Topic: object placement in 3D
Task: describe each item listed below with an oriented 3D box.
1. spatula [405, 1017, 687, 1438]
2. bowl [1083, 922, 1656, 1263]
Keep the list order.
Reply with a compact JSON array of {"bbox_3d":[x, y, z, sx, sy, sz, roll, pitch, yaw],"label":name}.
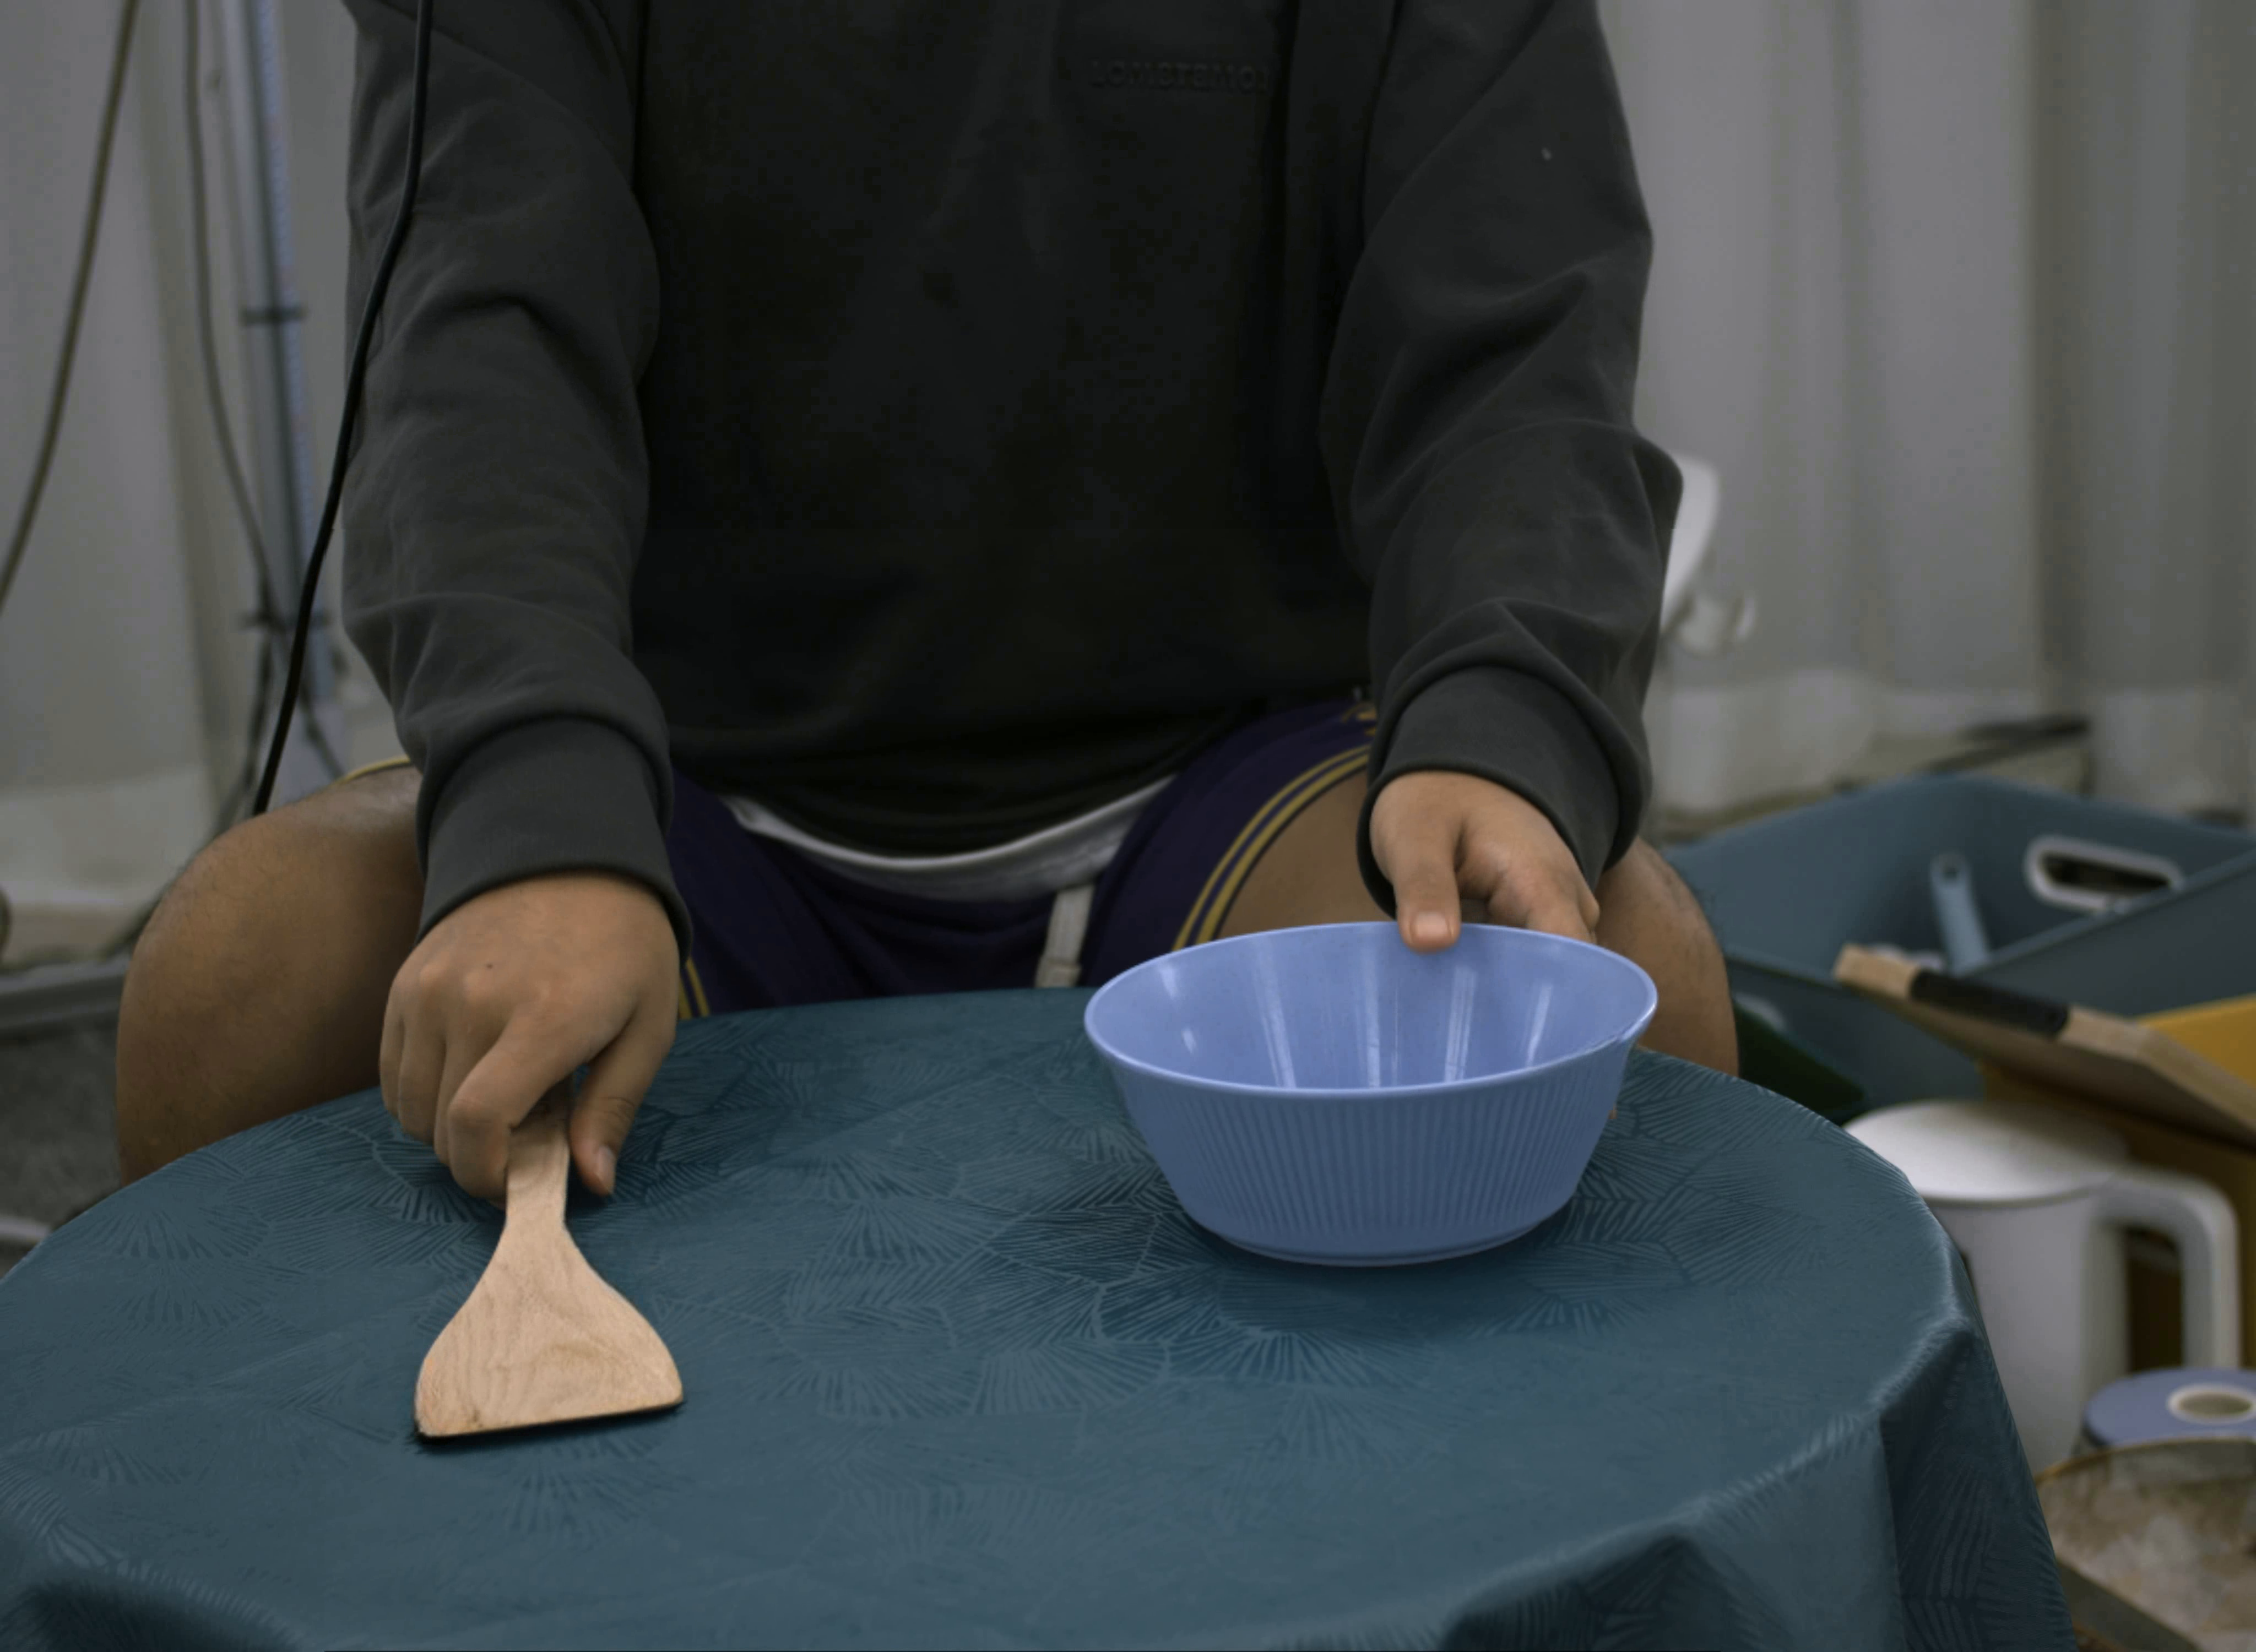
[{"bbox_3d":[-0.181,0.118,1.681,0.079,0.016,0.331,-4,20,-6],"label":"spatula"},{"bbox_3d":[0.075,0.084,1.680,0.175,0.070,0.177,-3,15,0],"label":"bowl"}]
